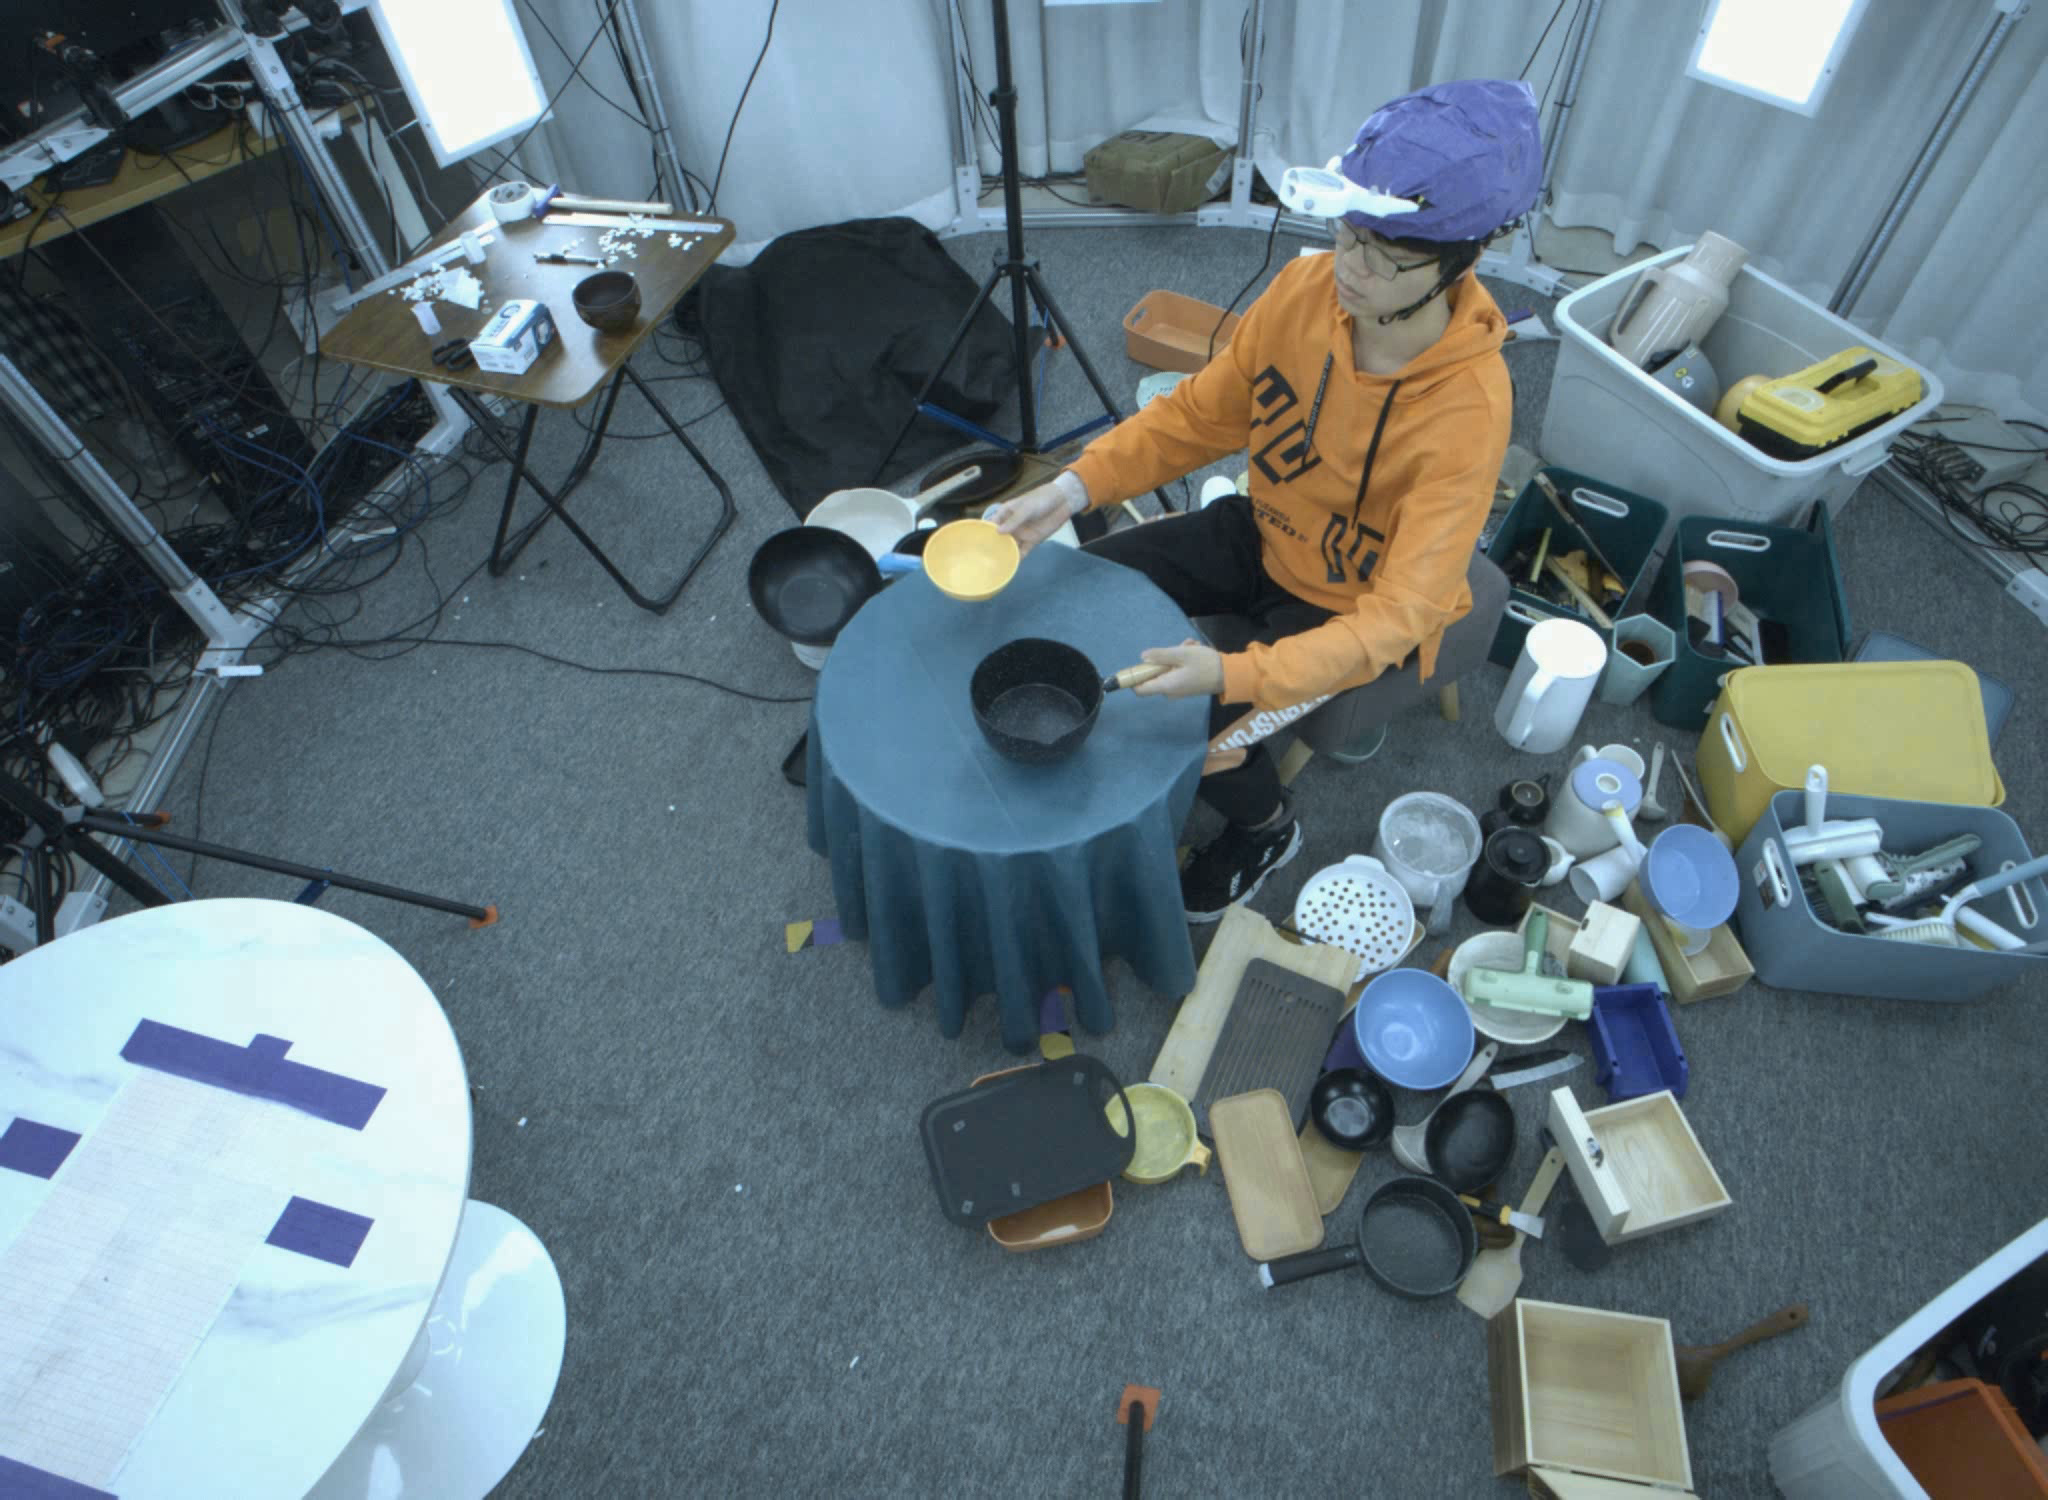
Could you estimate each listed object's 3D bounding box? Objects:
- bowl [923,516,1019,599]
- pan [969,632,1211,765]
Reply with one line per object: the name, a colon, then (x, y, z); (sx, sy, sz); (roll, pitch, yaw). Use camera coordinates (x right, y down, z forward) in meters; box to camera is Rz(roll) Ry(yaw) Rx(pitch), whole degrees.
bowl: (-0.080, -0.278, 1.843); (0.146, 0.060, 0.144); (2, 62, -3)
pan: (0.095, -0.084, 1.740); (0.344, 0.109, 0.204); (-11, 53, -7)
